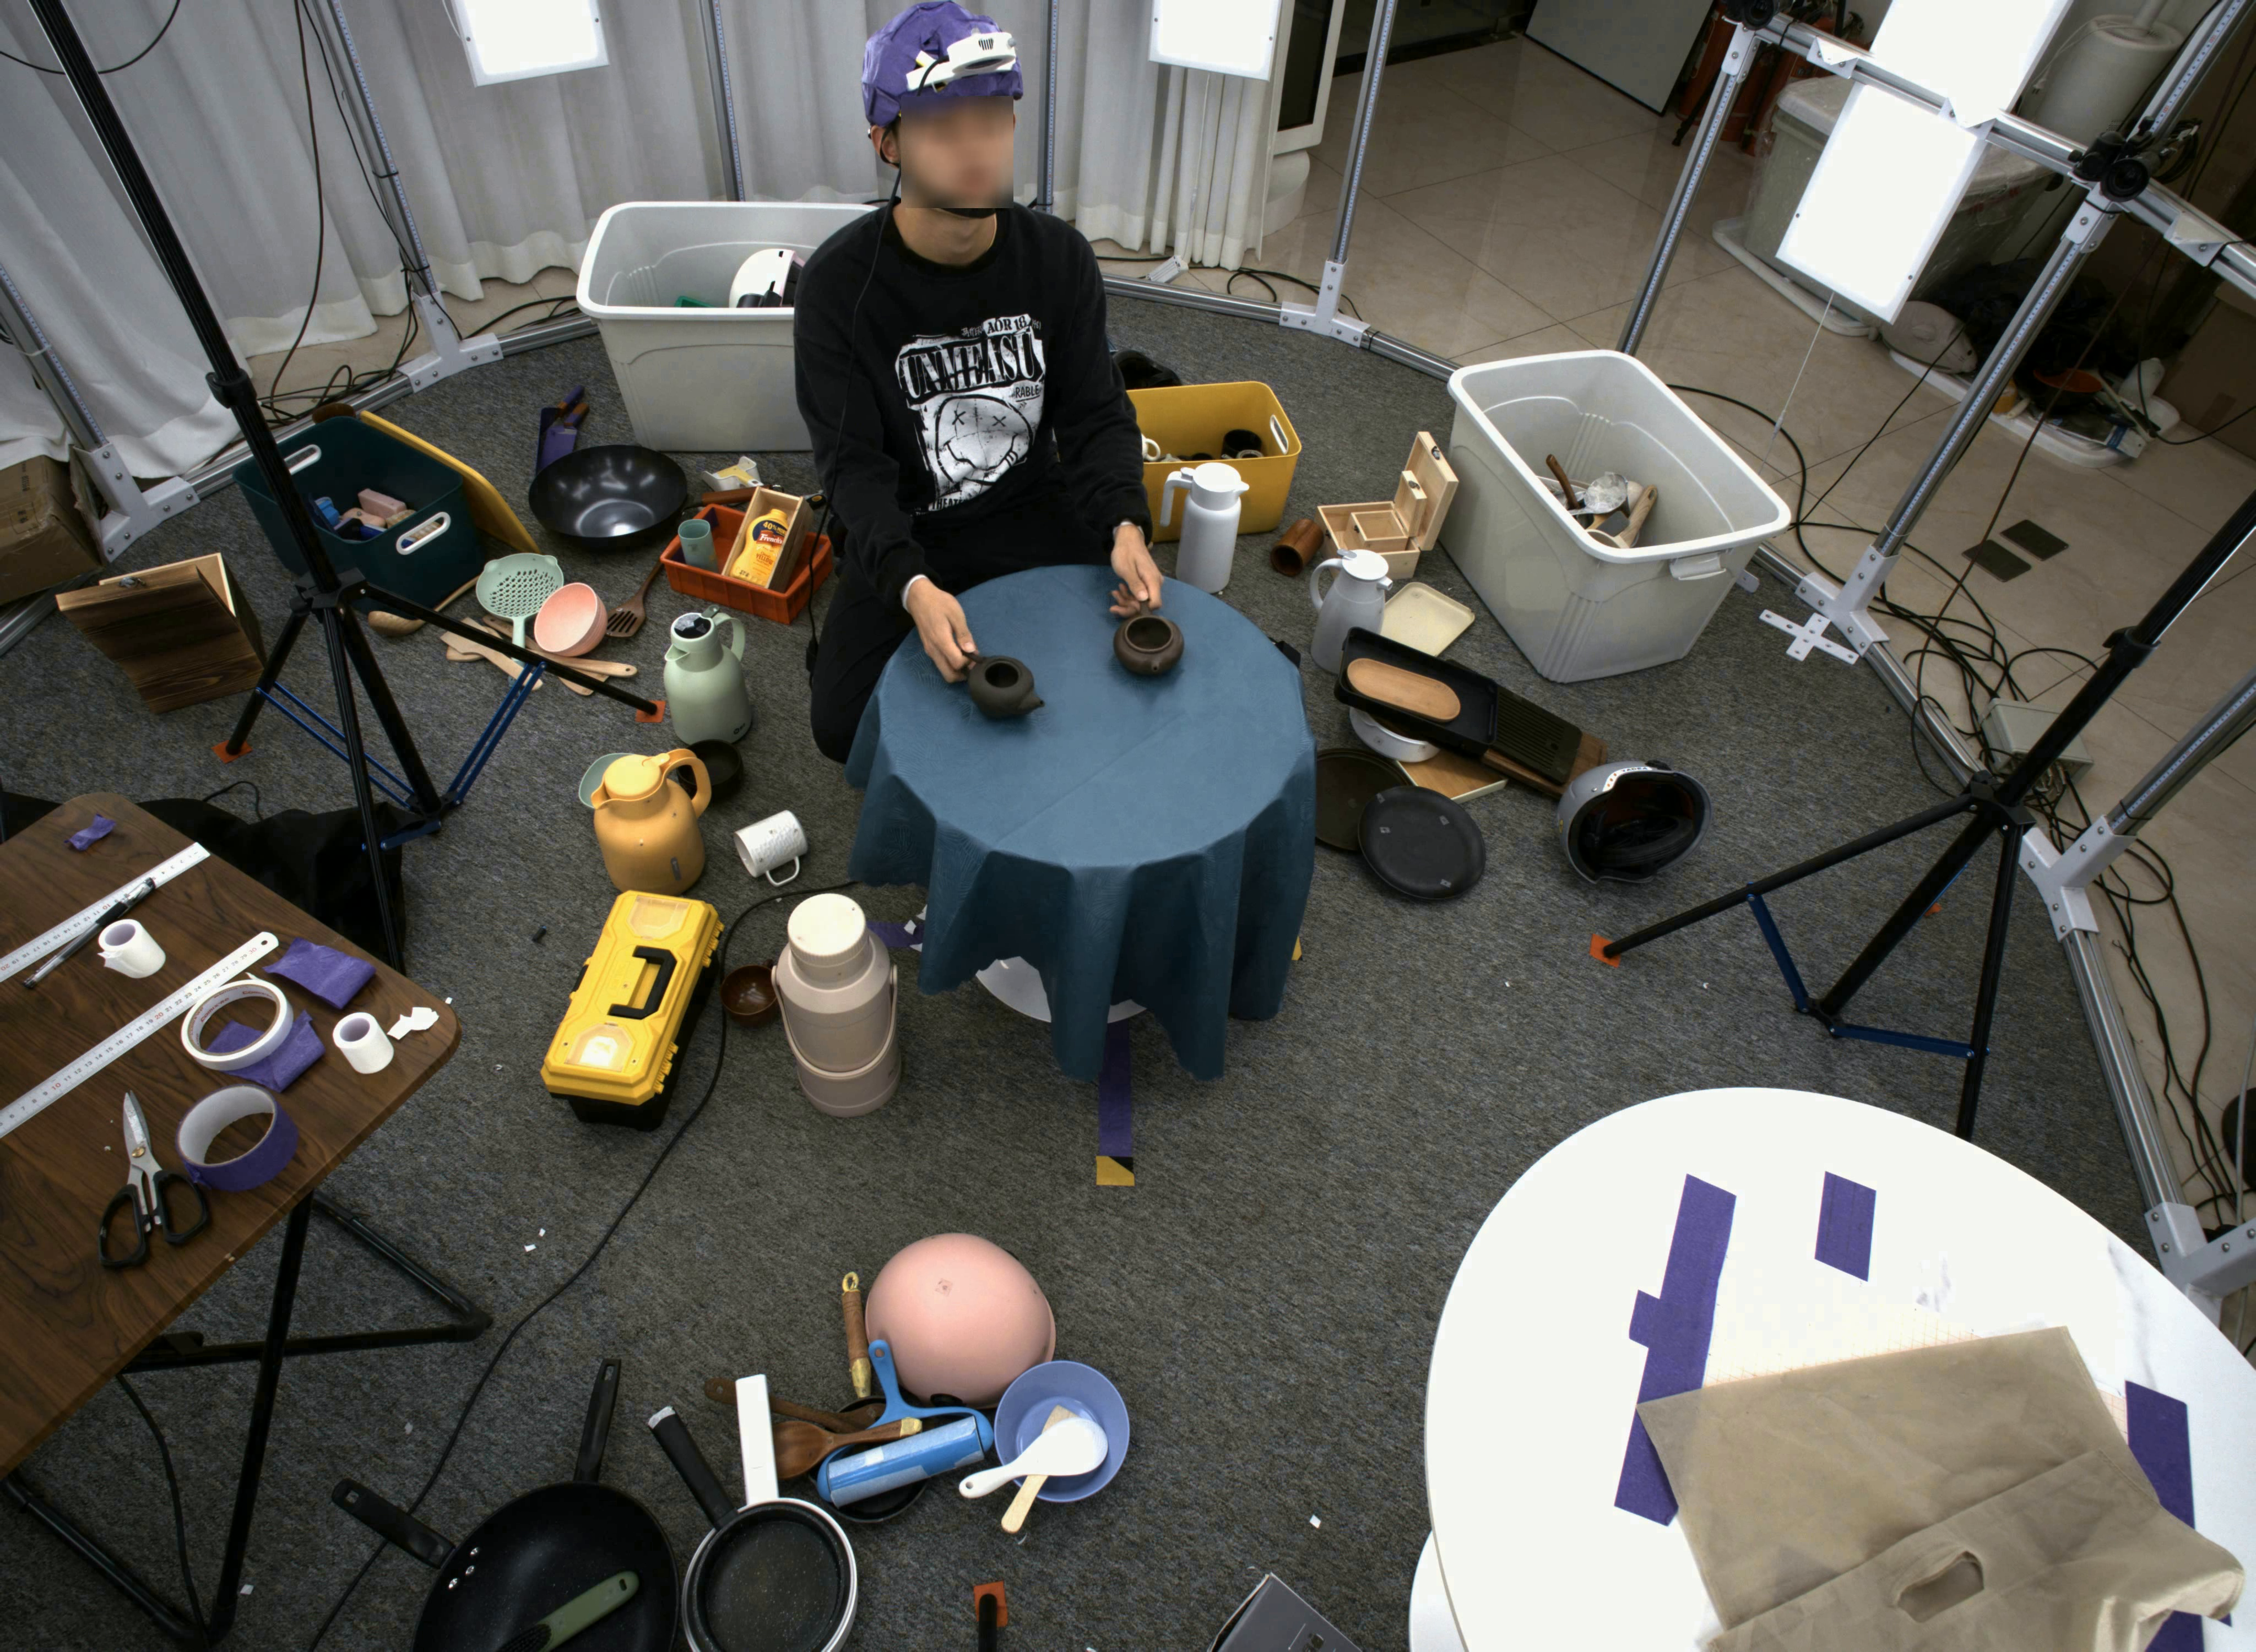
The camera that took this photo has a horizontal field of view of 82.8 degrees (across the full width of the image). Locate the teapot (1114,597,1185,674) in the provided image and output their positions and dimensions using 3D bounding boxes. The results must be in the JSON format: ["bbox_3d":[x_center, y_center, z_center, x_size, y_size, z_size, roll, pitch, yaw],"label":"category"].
[{"bbox_3d":[0.030,-0.270,1.865,0.102,0.052,0.157,-7,55,-9],"label":"teapot"}]

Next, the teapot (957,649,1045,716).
[{"bbox_3d":[-0.179,-0.195,1.784,0.156,0.063,0.093,35,52,17],"label":"teapot"}]
